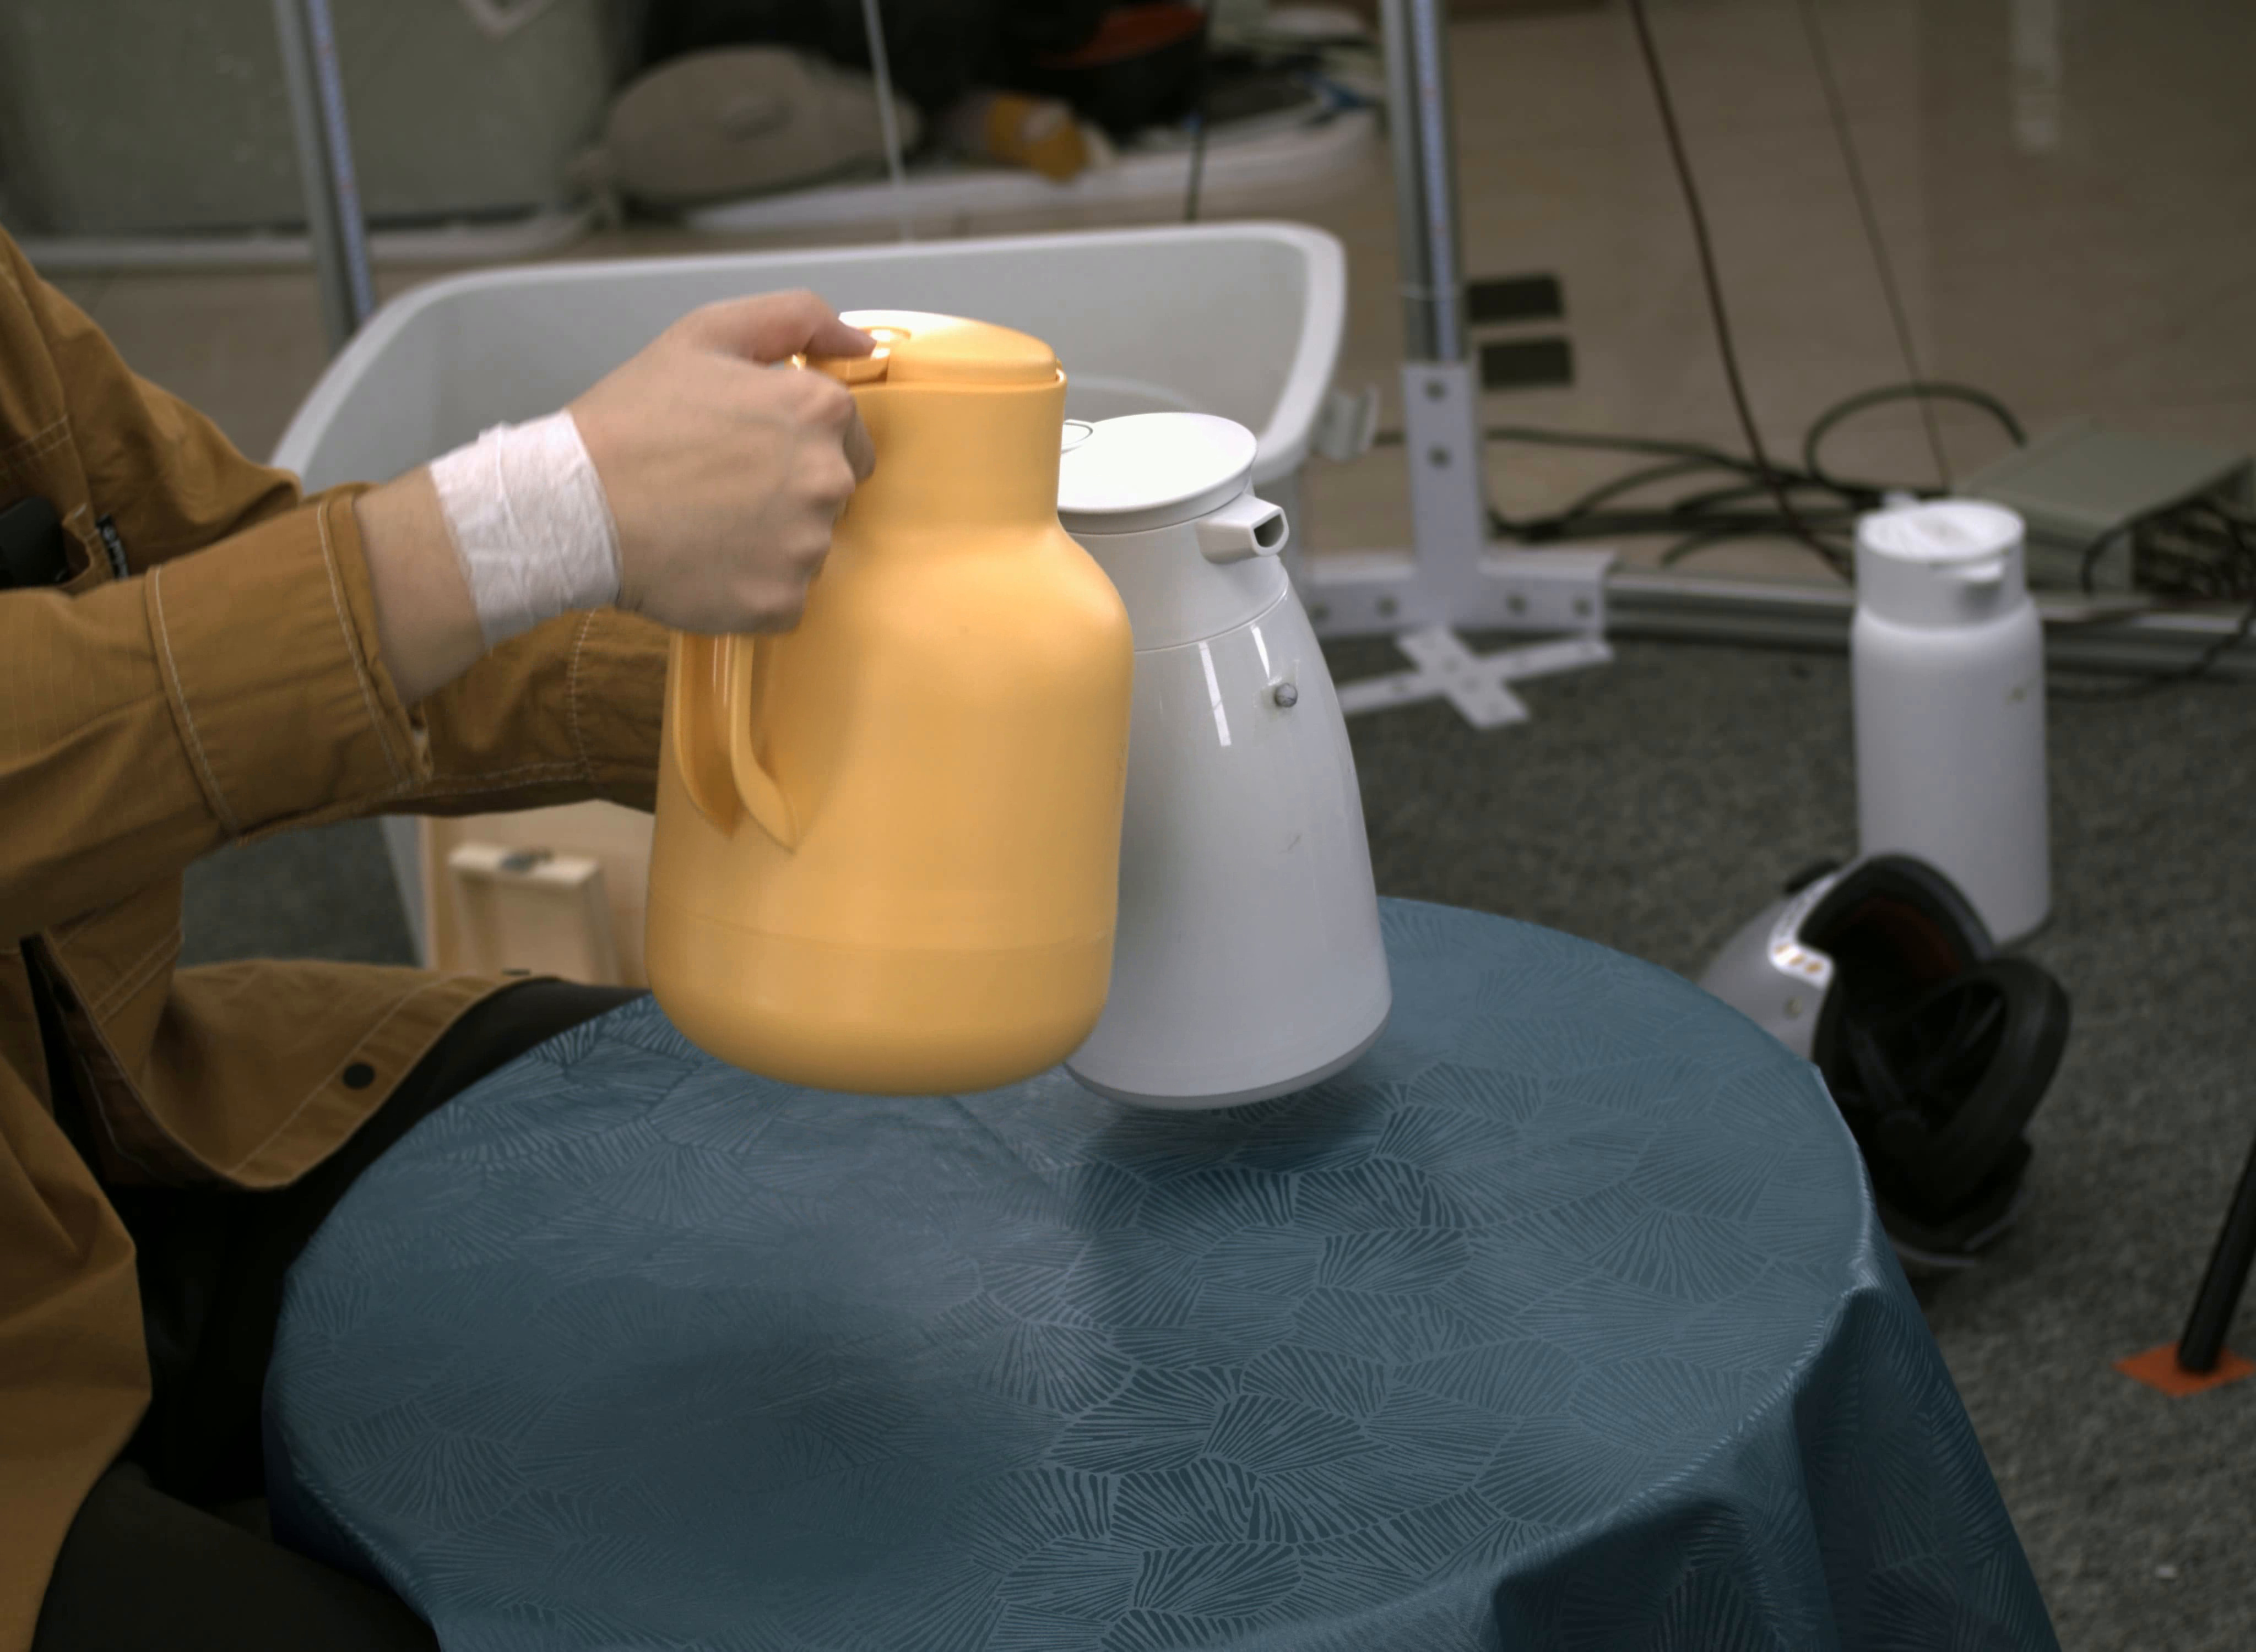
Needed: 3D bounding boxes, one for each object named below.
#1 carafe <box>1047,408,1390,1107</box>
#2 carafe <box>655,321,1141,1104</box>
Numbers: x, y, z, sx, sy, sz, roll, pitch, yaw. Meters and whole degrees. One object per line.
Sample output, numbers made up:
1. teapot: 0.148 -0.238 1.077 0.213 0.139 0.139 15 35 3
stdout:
1. carafe: 0.005 -0.036 2.156 0.167 0.252 0.131 13 34 39
2. carafe: -0.088 -0.040 1.933 0.162 0.263 0.201 11 14 31
